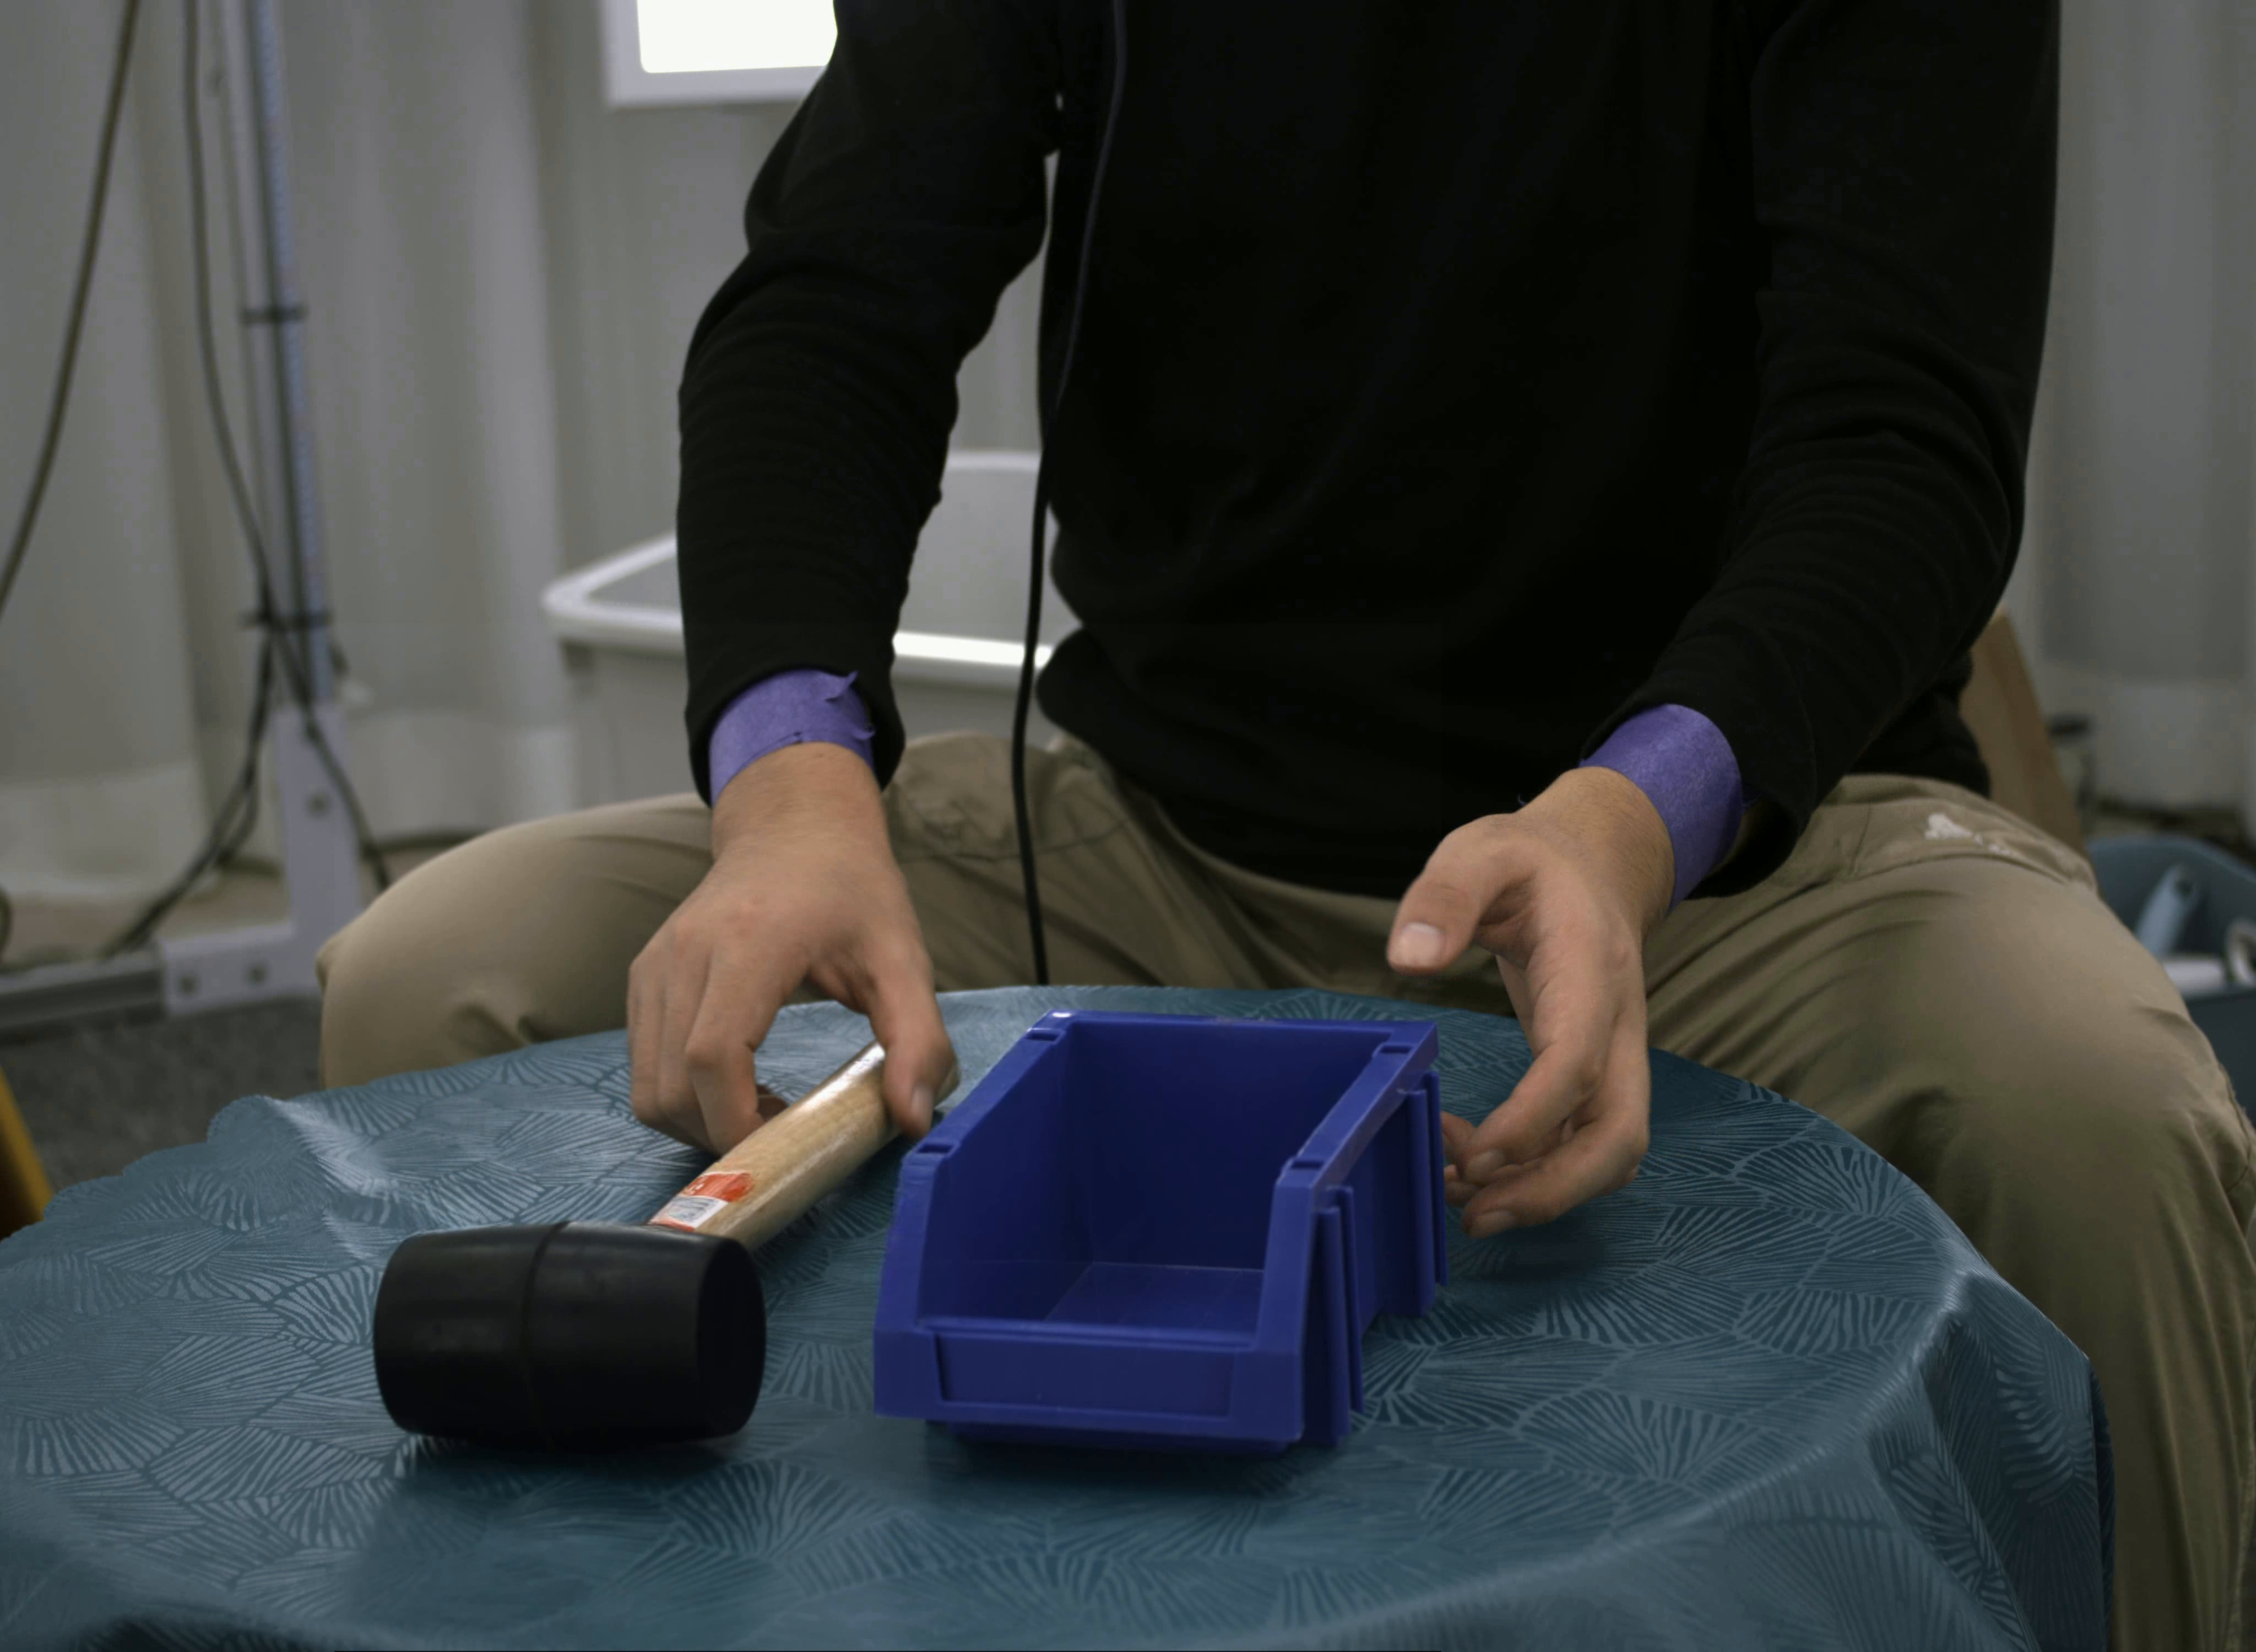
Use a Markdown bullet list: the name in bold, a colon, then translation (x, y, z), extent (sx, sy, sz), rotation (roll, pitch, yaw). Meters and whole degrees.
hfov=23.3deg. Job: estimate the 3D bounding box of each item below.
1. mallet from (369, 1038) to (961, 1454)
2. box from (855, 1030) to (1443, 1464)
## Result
- **mallet**: translation (-0.118, 0.108, 1.647), extent (0.102, 0.064, 0.340), rotation (1, 15, 16)
- **box**: translation (0.010, 0.120, 1.536), extent (0.124, 0.081, 0.180), rotation (2, 12, 18)
